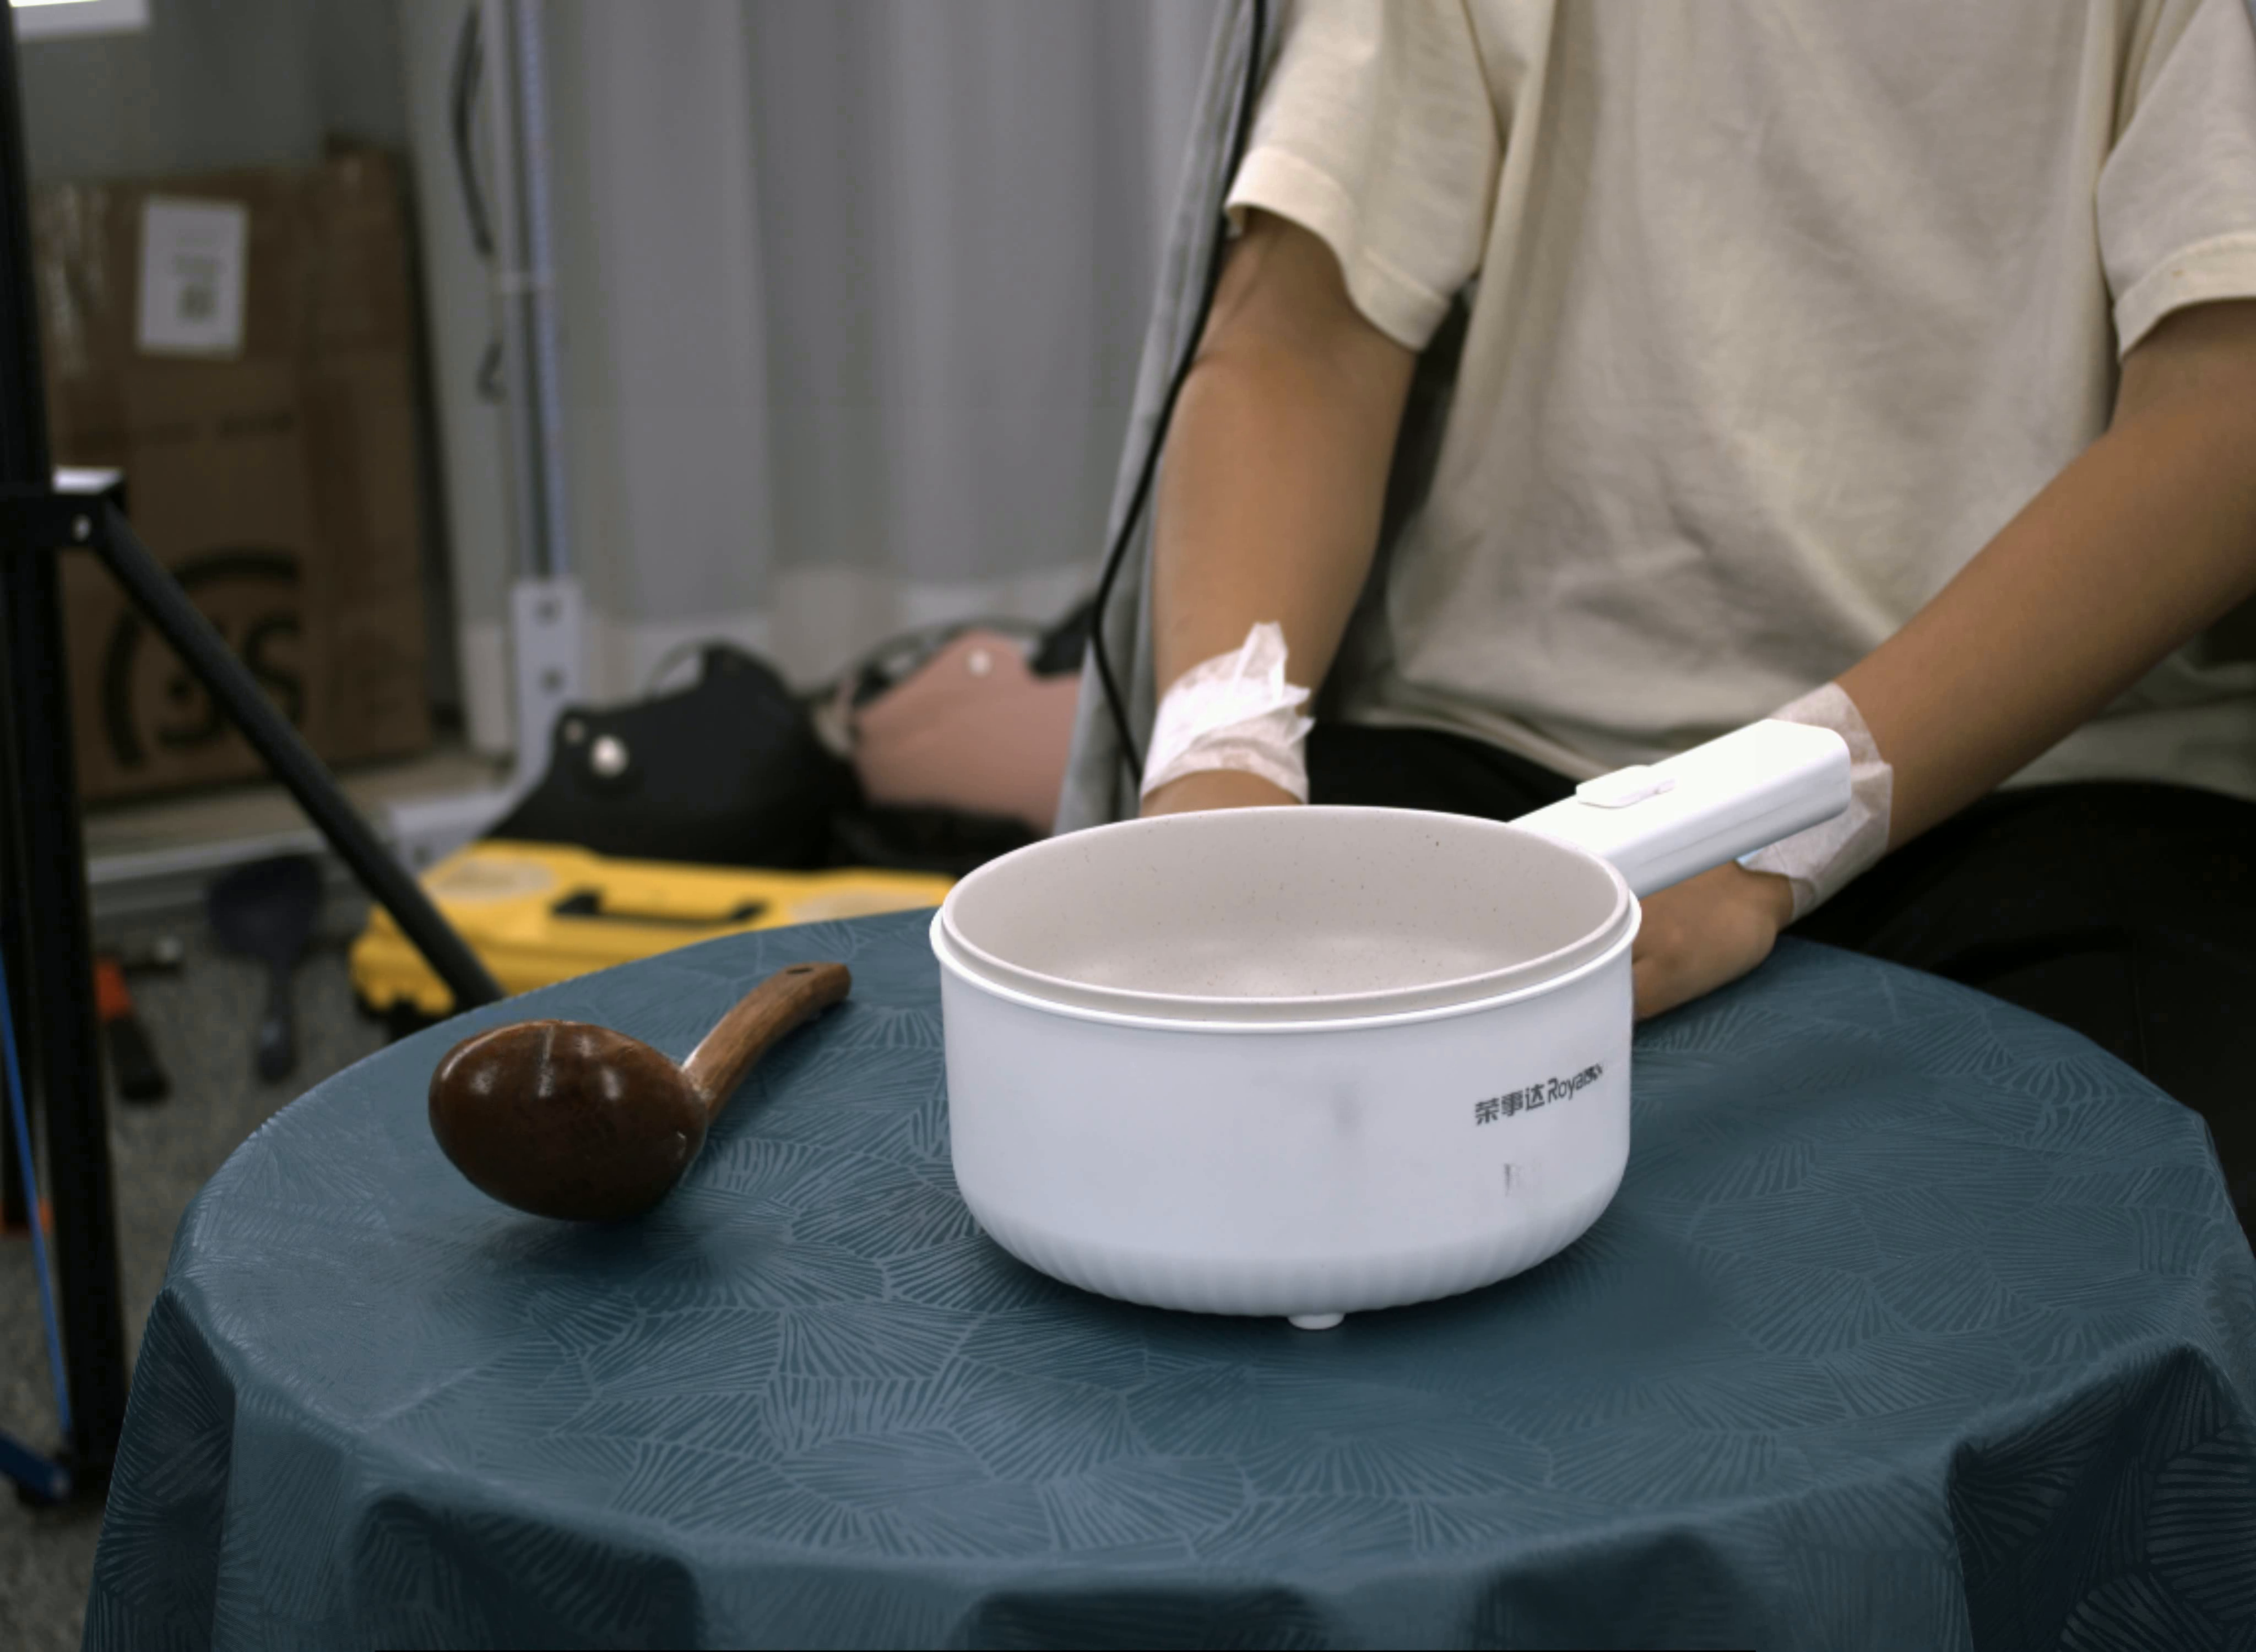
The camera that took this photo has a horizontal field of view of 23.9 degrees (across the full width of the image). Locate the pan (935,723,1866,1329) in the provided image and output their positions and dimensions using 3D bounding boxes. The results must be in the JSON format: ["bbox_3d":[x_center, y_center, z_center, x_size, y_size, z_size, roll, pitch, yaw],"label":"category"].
[{"bbox_3d":[0.098,0.052,1.557,0.206,0.102,0.347,11,20,42],"label":"pan"}]

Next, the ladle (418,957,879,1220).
[{"bbox_3d":[-0.135,0.055,1.621,0.082,0.076,0.271,1,17,17],"label":"ladle"}]
